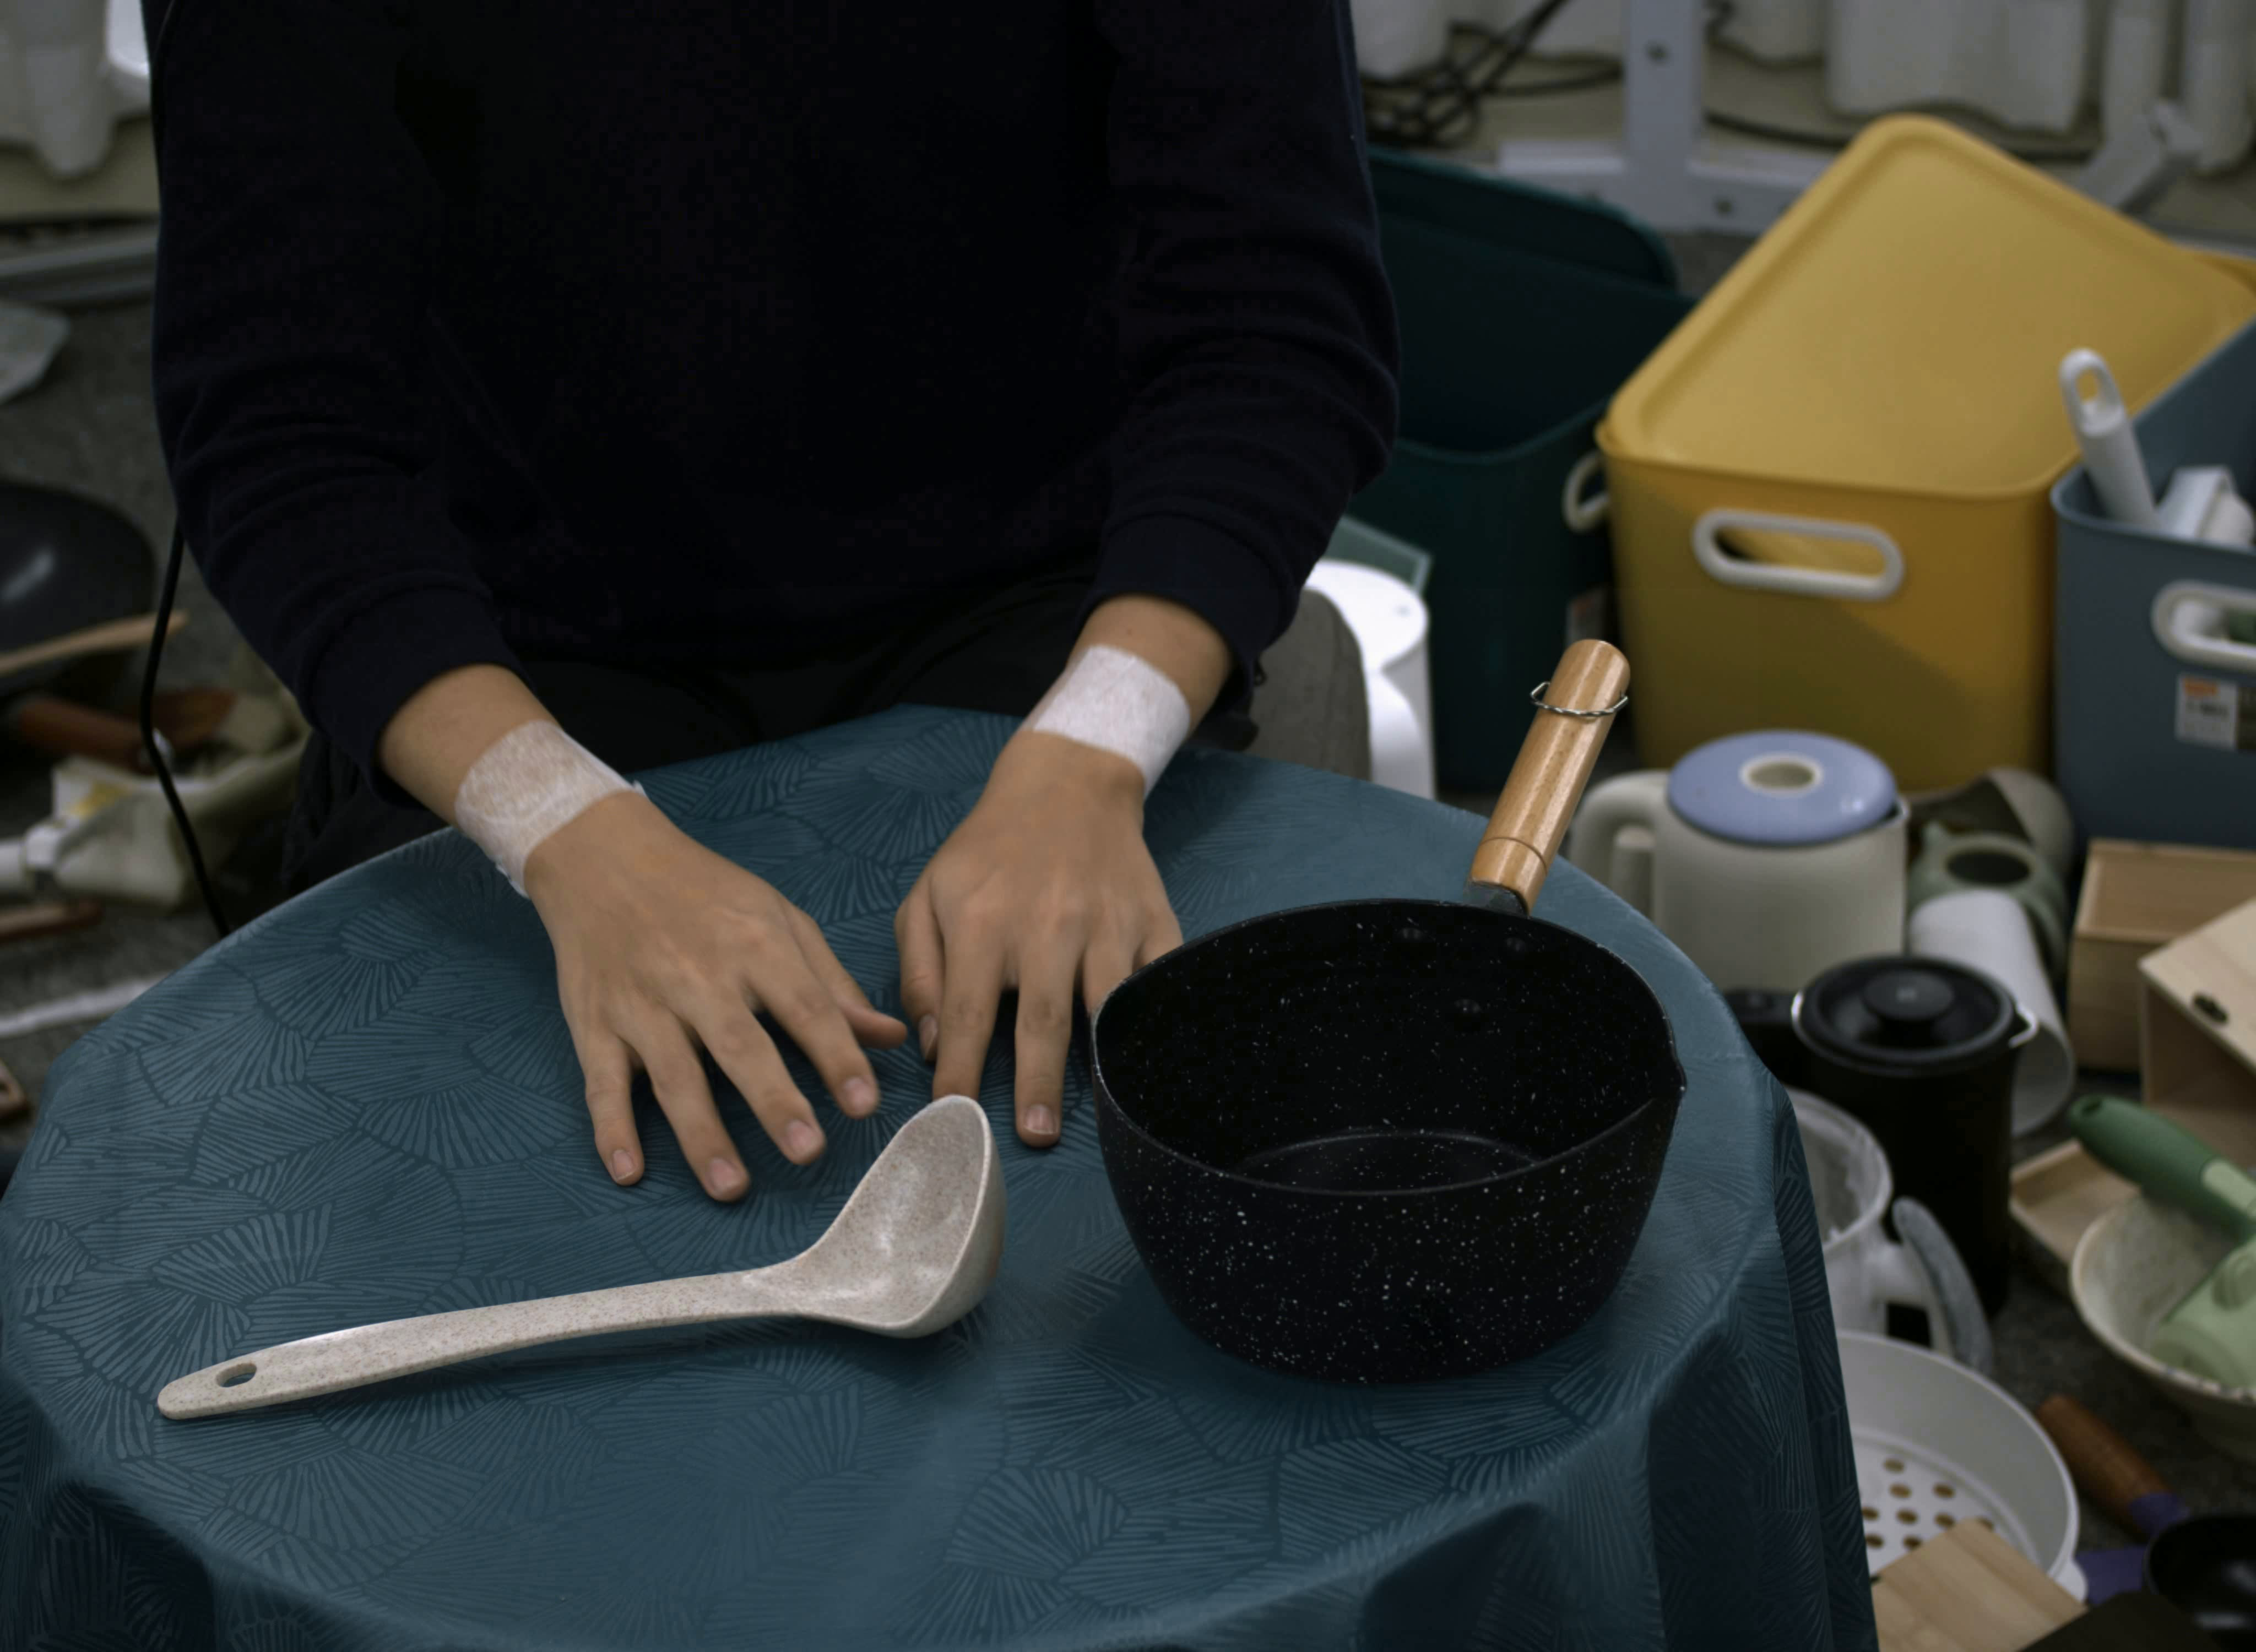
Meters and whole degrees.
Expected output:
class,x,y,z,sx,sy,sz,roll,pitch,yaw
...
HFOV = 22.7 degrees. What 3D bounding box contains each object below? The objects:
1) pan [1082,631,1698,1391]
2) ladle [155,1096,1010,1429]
class,x,y,z,sx,sy,sz,roll,pitch,yaw
pan,0.107,0.057,1.860,0.206,0.107,0.349,6,30,19
ladle,-0.172,0.141,1.771,0.274,0.068,0.091,-8,38,-9
